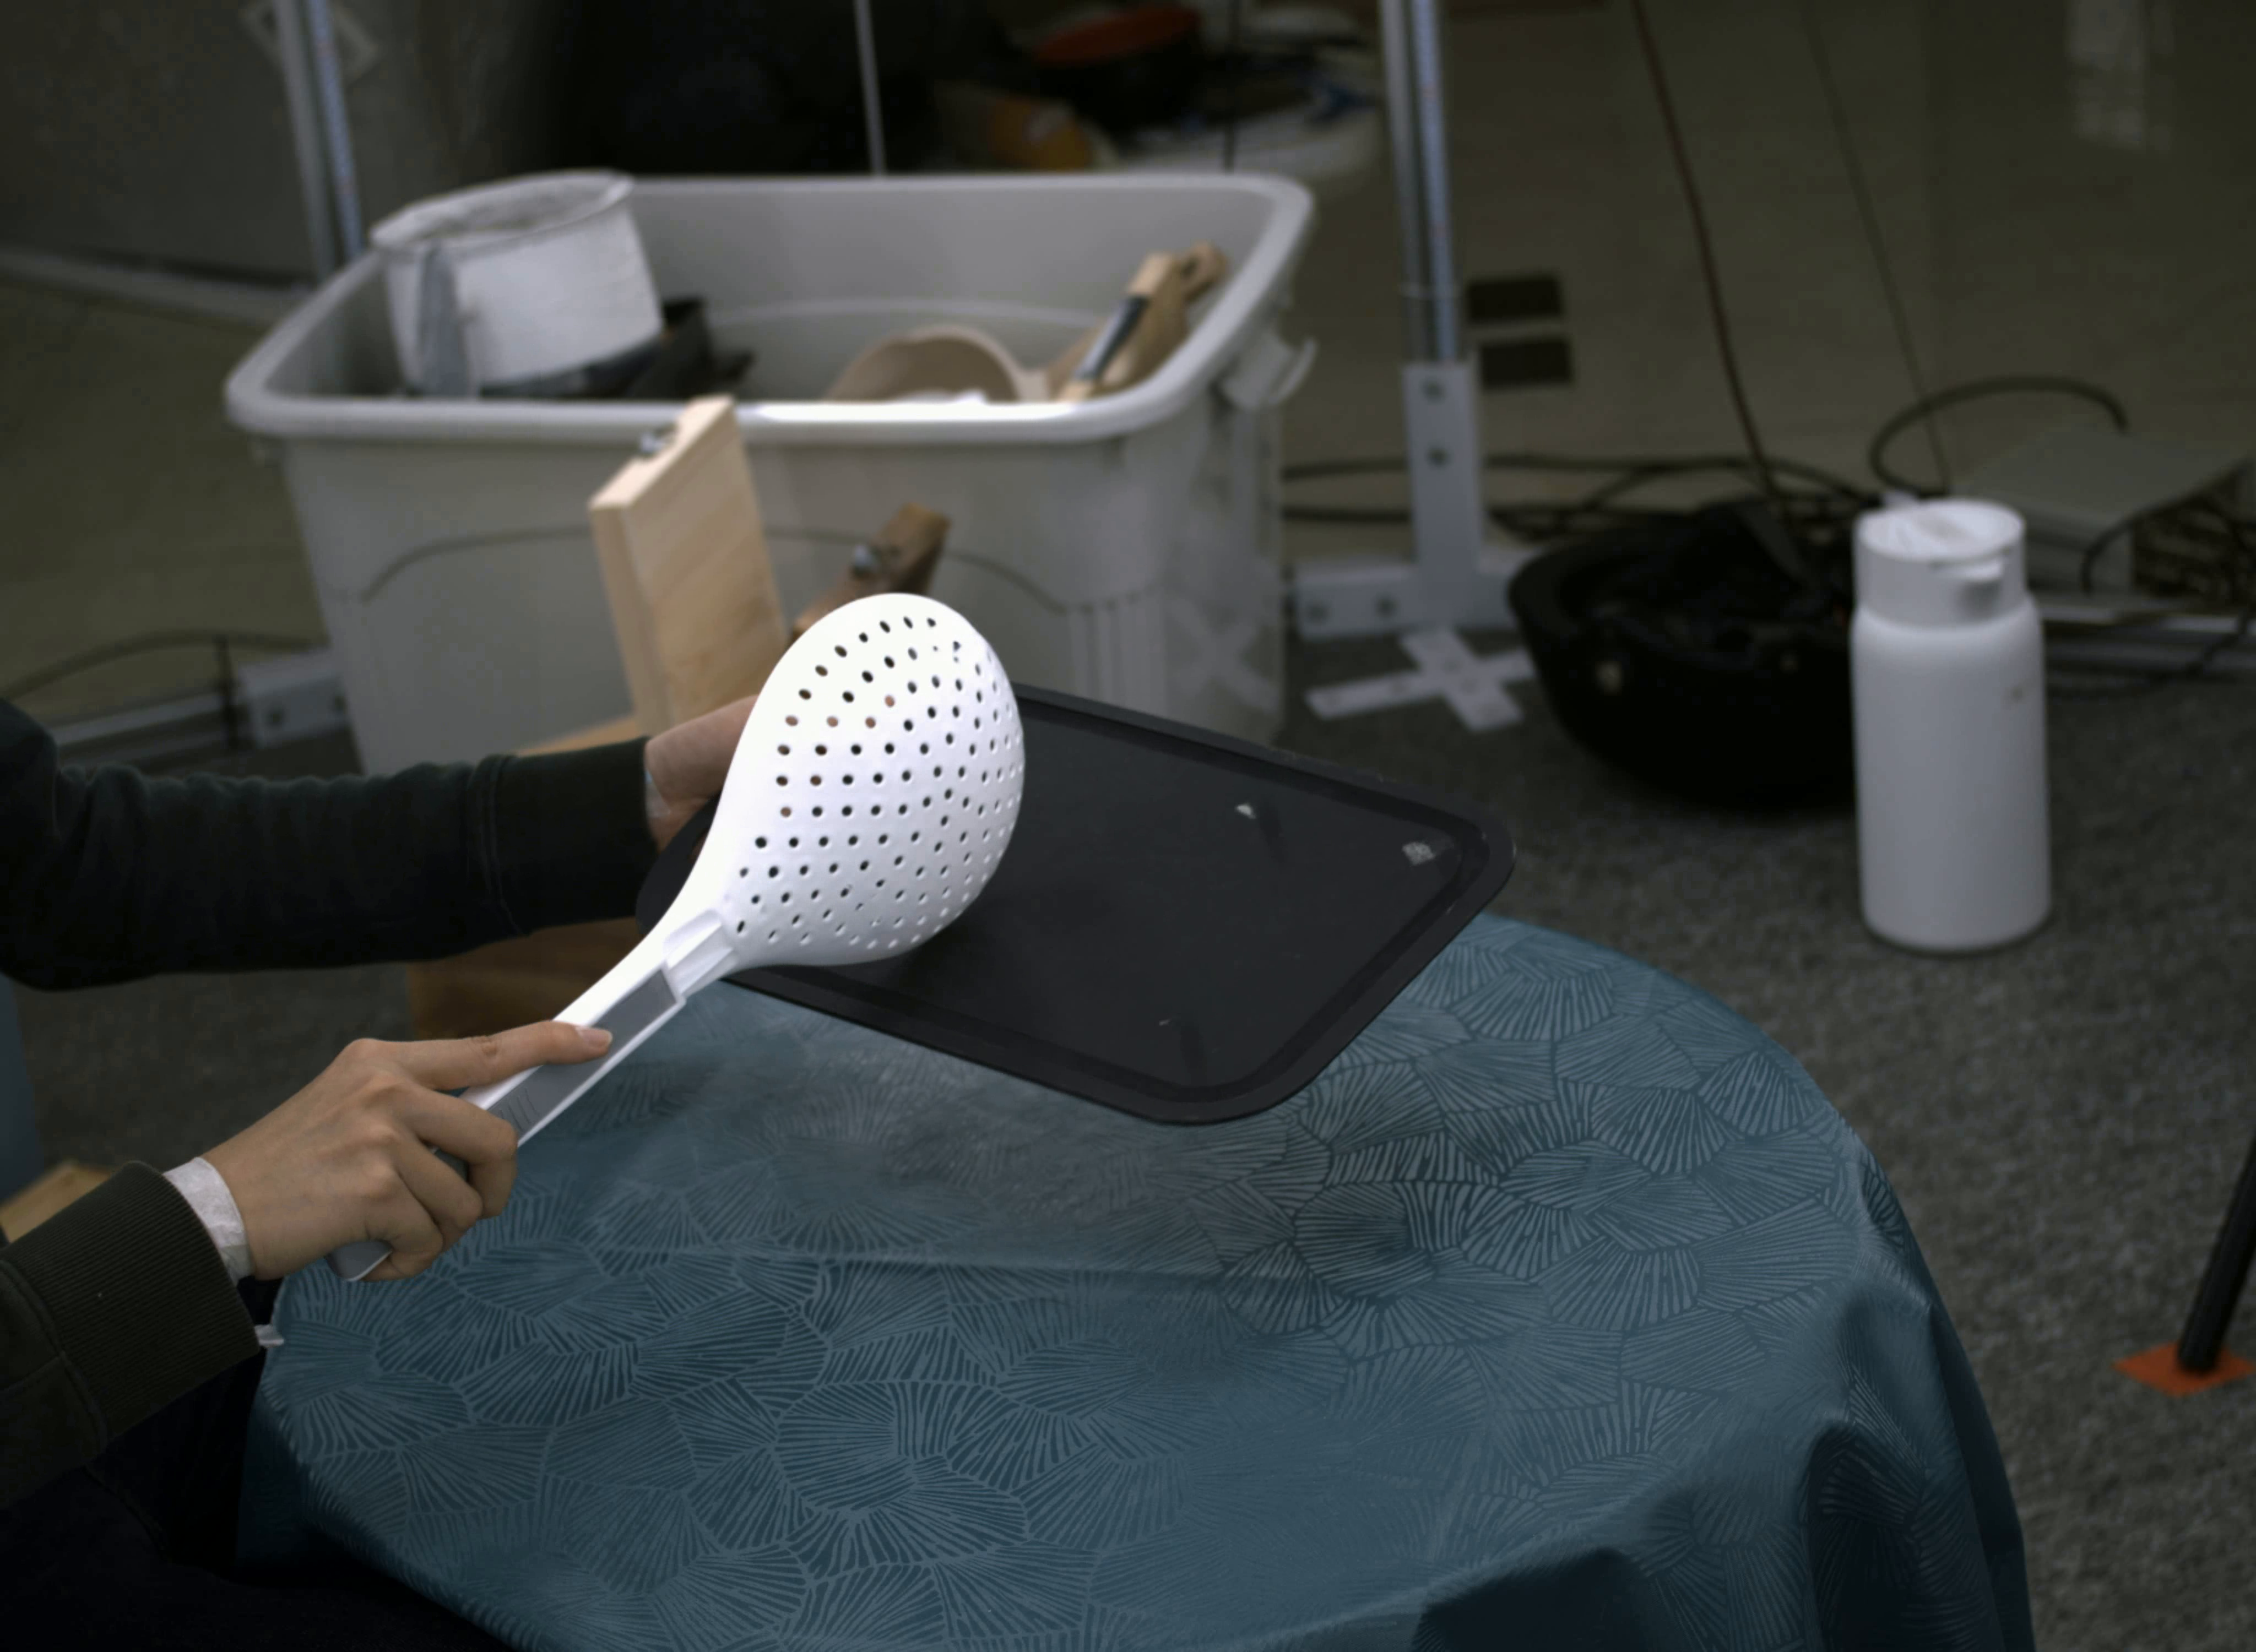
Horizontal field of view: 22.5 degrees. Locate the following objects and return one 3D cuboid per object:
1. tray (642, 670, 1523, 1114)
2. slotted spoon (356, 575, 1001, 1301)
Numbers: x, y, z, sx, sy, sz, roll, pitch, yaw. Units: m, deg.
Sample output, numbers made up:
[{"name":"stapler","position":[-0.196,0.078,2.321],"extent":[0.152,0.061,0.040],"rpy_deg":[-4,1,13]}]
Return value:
[{"name":"tray","position":[-0.027,0.018,2.130],"extent":[0.323,0.010,0.208],"rpy_deg":[16,43,34]},{"name":"slotted spoon","position":[-0.155,0.044,2.026],"extent":[0.045,0.138,0.346],"rpy_deg":[23,55,40]}]
